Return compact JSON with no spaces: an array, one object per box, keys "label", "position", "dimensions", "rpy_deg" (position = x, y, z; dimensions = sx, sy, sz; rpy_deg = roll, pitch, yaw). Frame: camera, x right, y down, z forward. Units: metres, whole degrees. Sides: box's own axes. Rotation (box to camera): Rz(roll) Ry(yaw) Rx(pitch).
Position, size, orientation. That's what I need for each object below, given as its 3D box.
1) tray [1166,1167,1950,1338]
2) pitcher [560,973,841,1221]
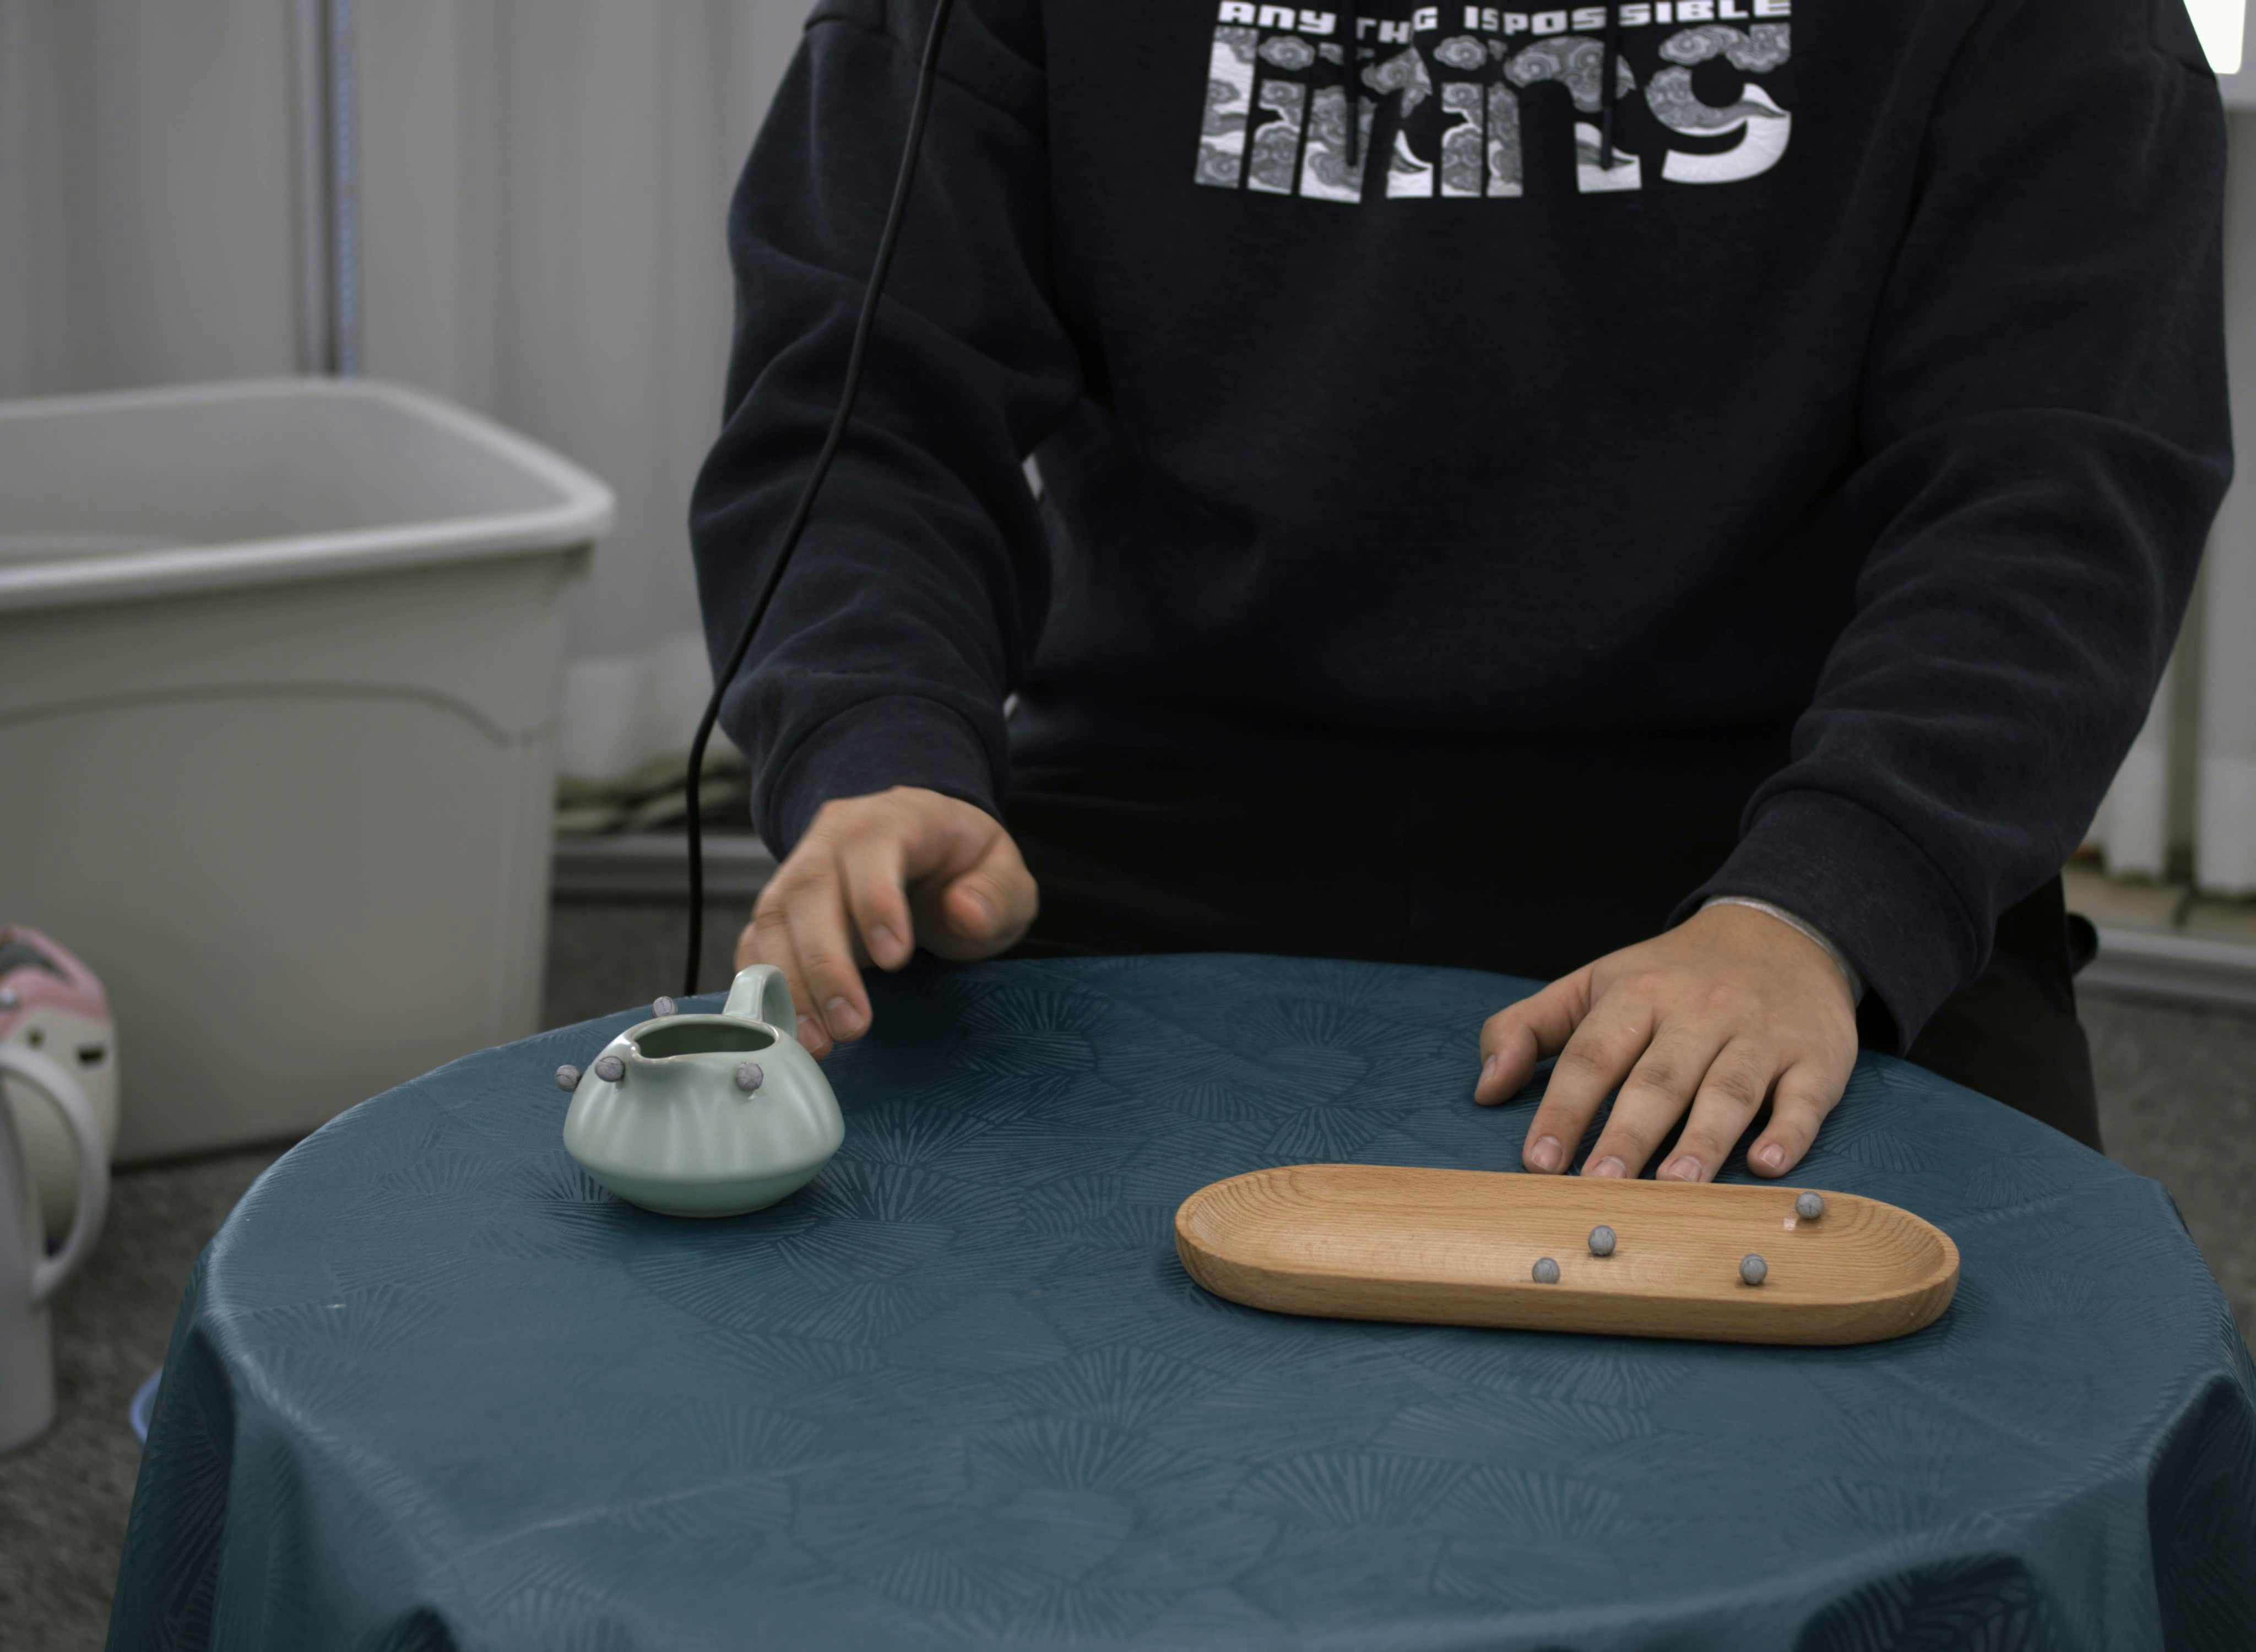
[{"label":"tray","position":[0.126,0.126,1.555],"dimensions":[0.230,0.020,0.101],"rpy_deg":[1,14,7]},{"label":"pitcher","position":[-0.127,0.084,1.621],"dimensions":[0.085,0.061,0.108],"rpy_deg":[6,14,15]}]
